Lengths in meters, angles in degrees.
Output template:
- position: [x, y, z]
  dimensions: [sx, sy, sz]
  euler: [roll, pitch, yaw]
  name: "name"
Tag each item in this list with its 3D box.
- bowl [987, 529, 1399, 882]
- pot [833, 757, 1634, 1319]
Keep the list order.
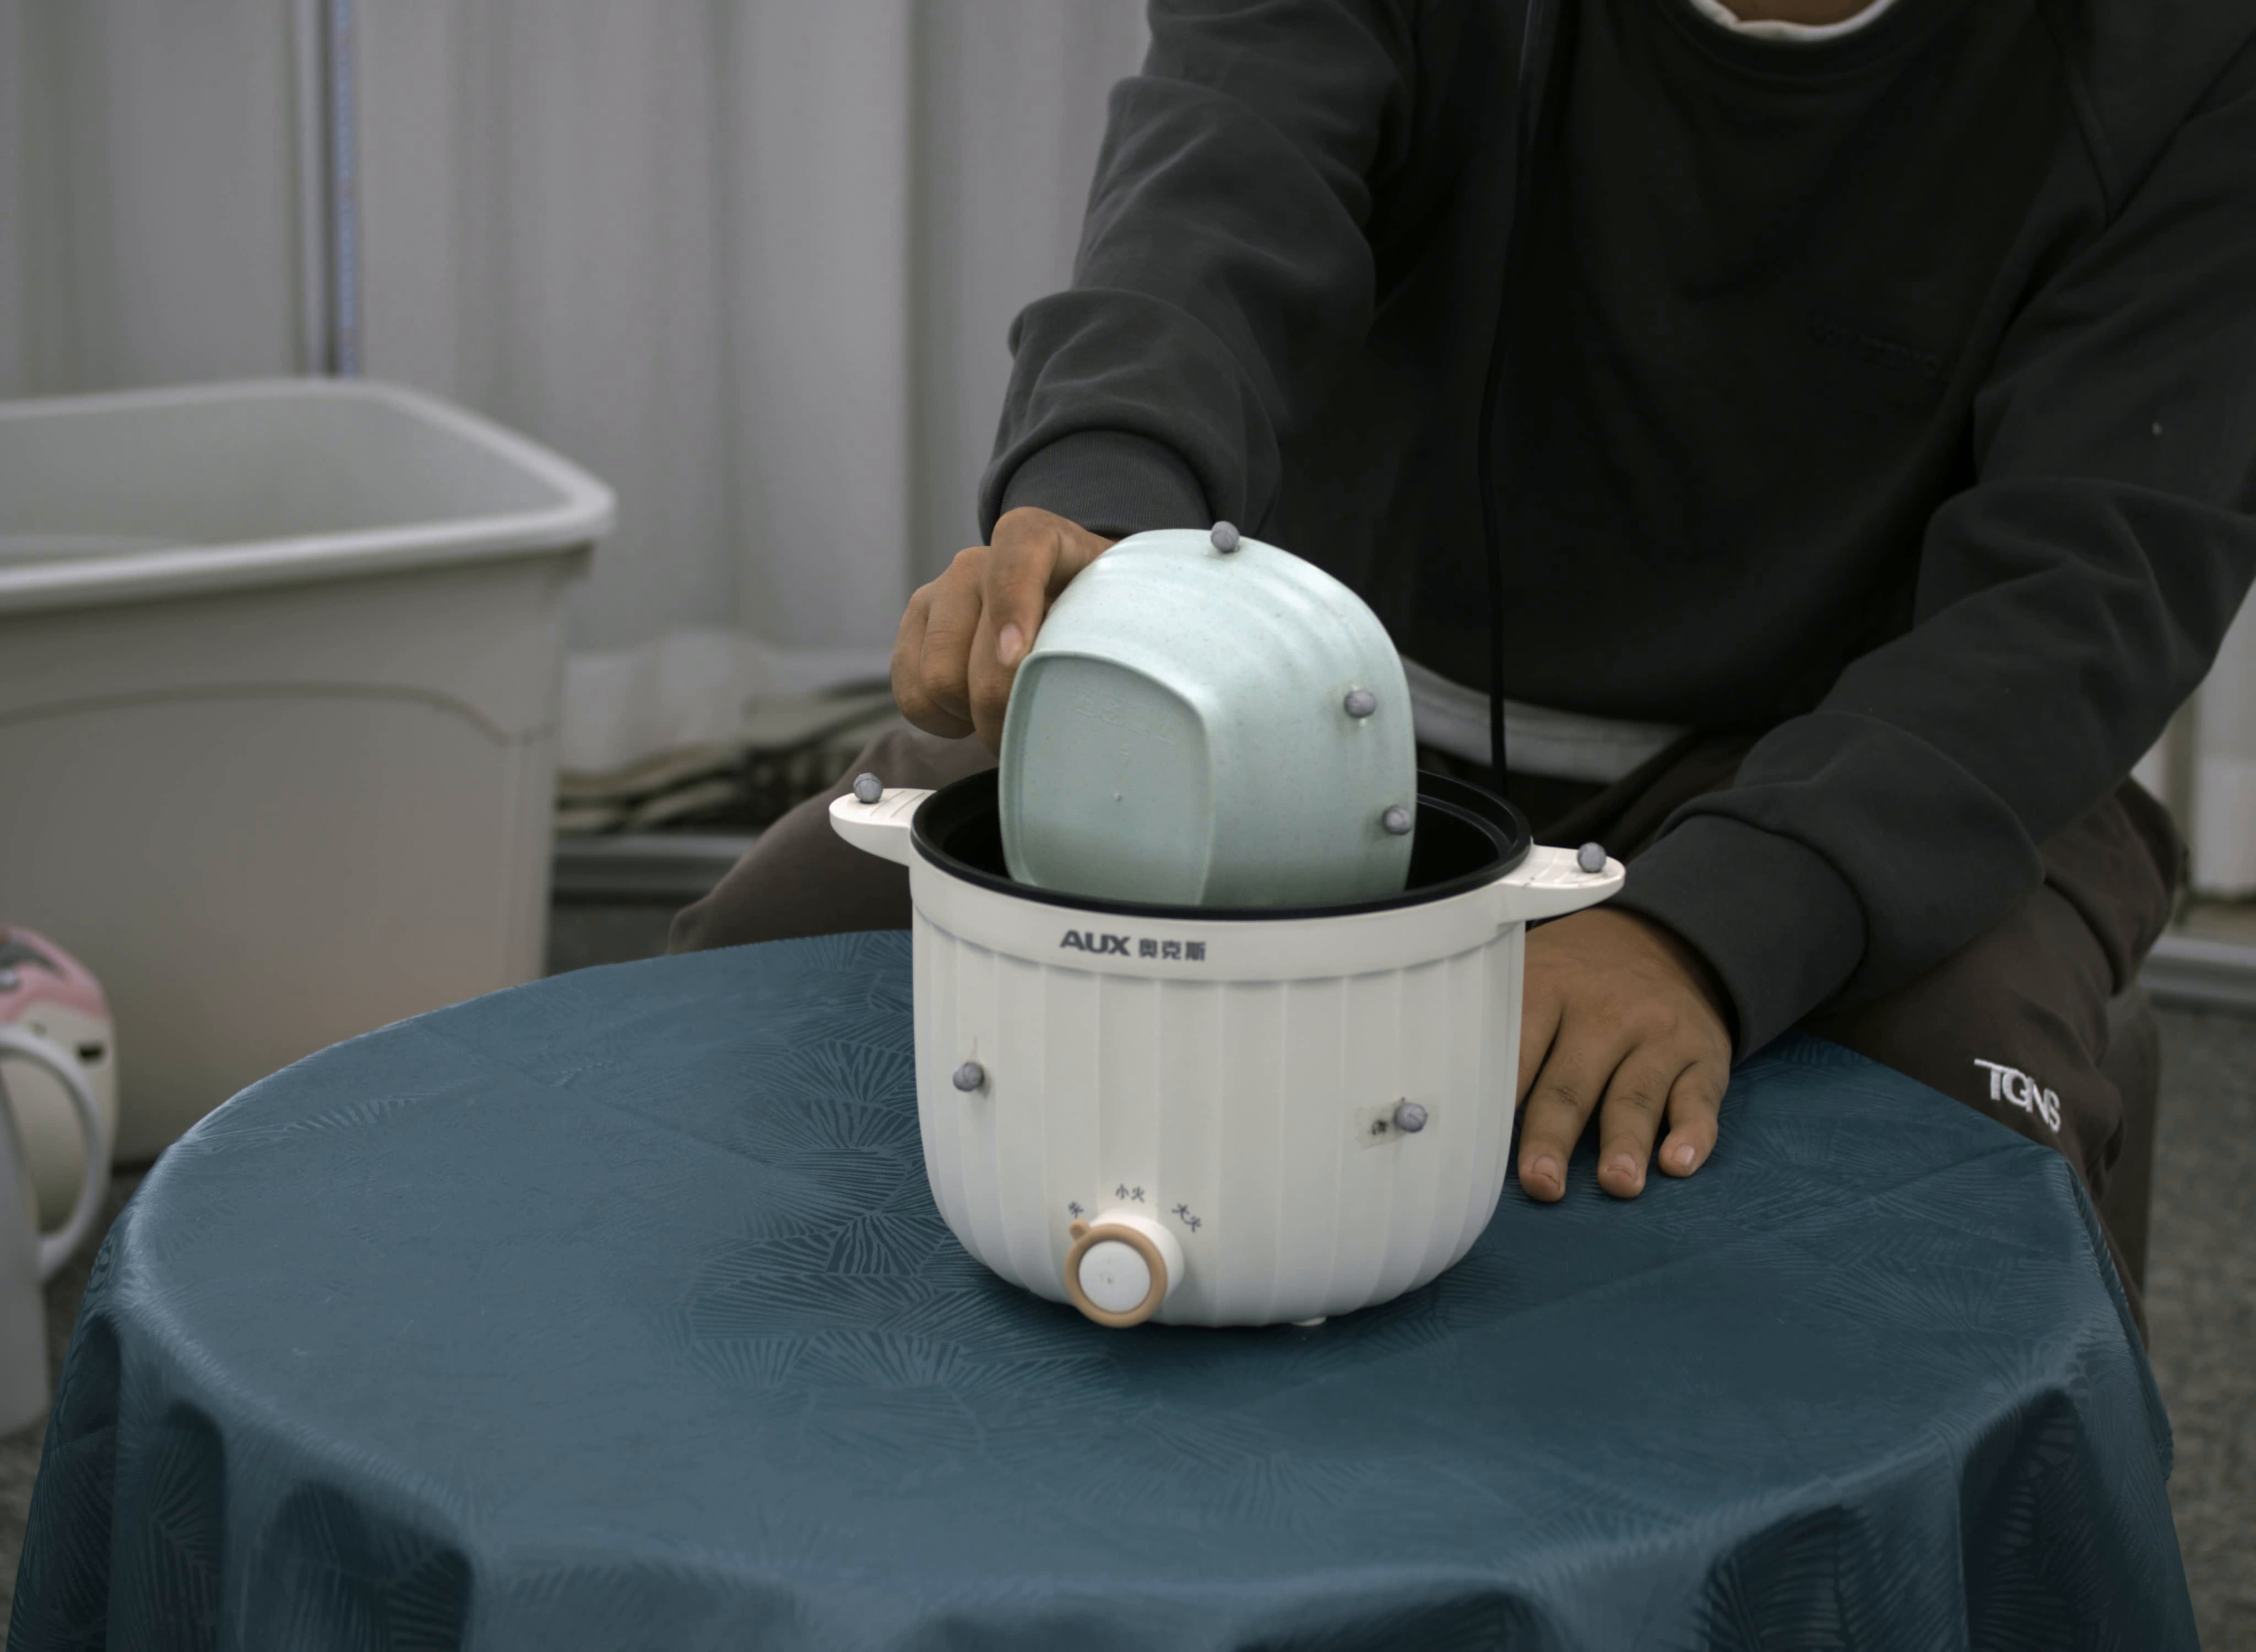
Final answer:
- position: [0.009, -0.013, 1.524]
  dimensions: [0.149, 0.152, 0.059]
  euler: [15, 21, 41]
  name: "bowl"
- position: [0.028, 0.062, 1.543]
  dimensions: [0.238, 0.143, 0.190]
  euler: [3, 13, 15]
  name: "pot"
